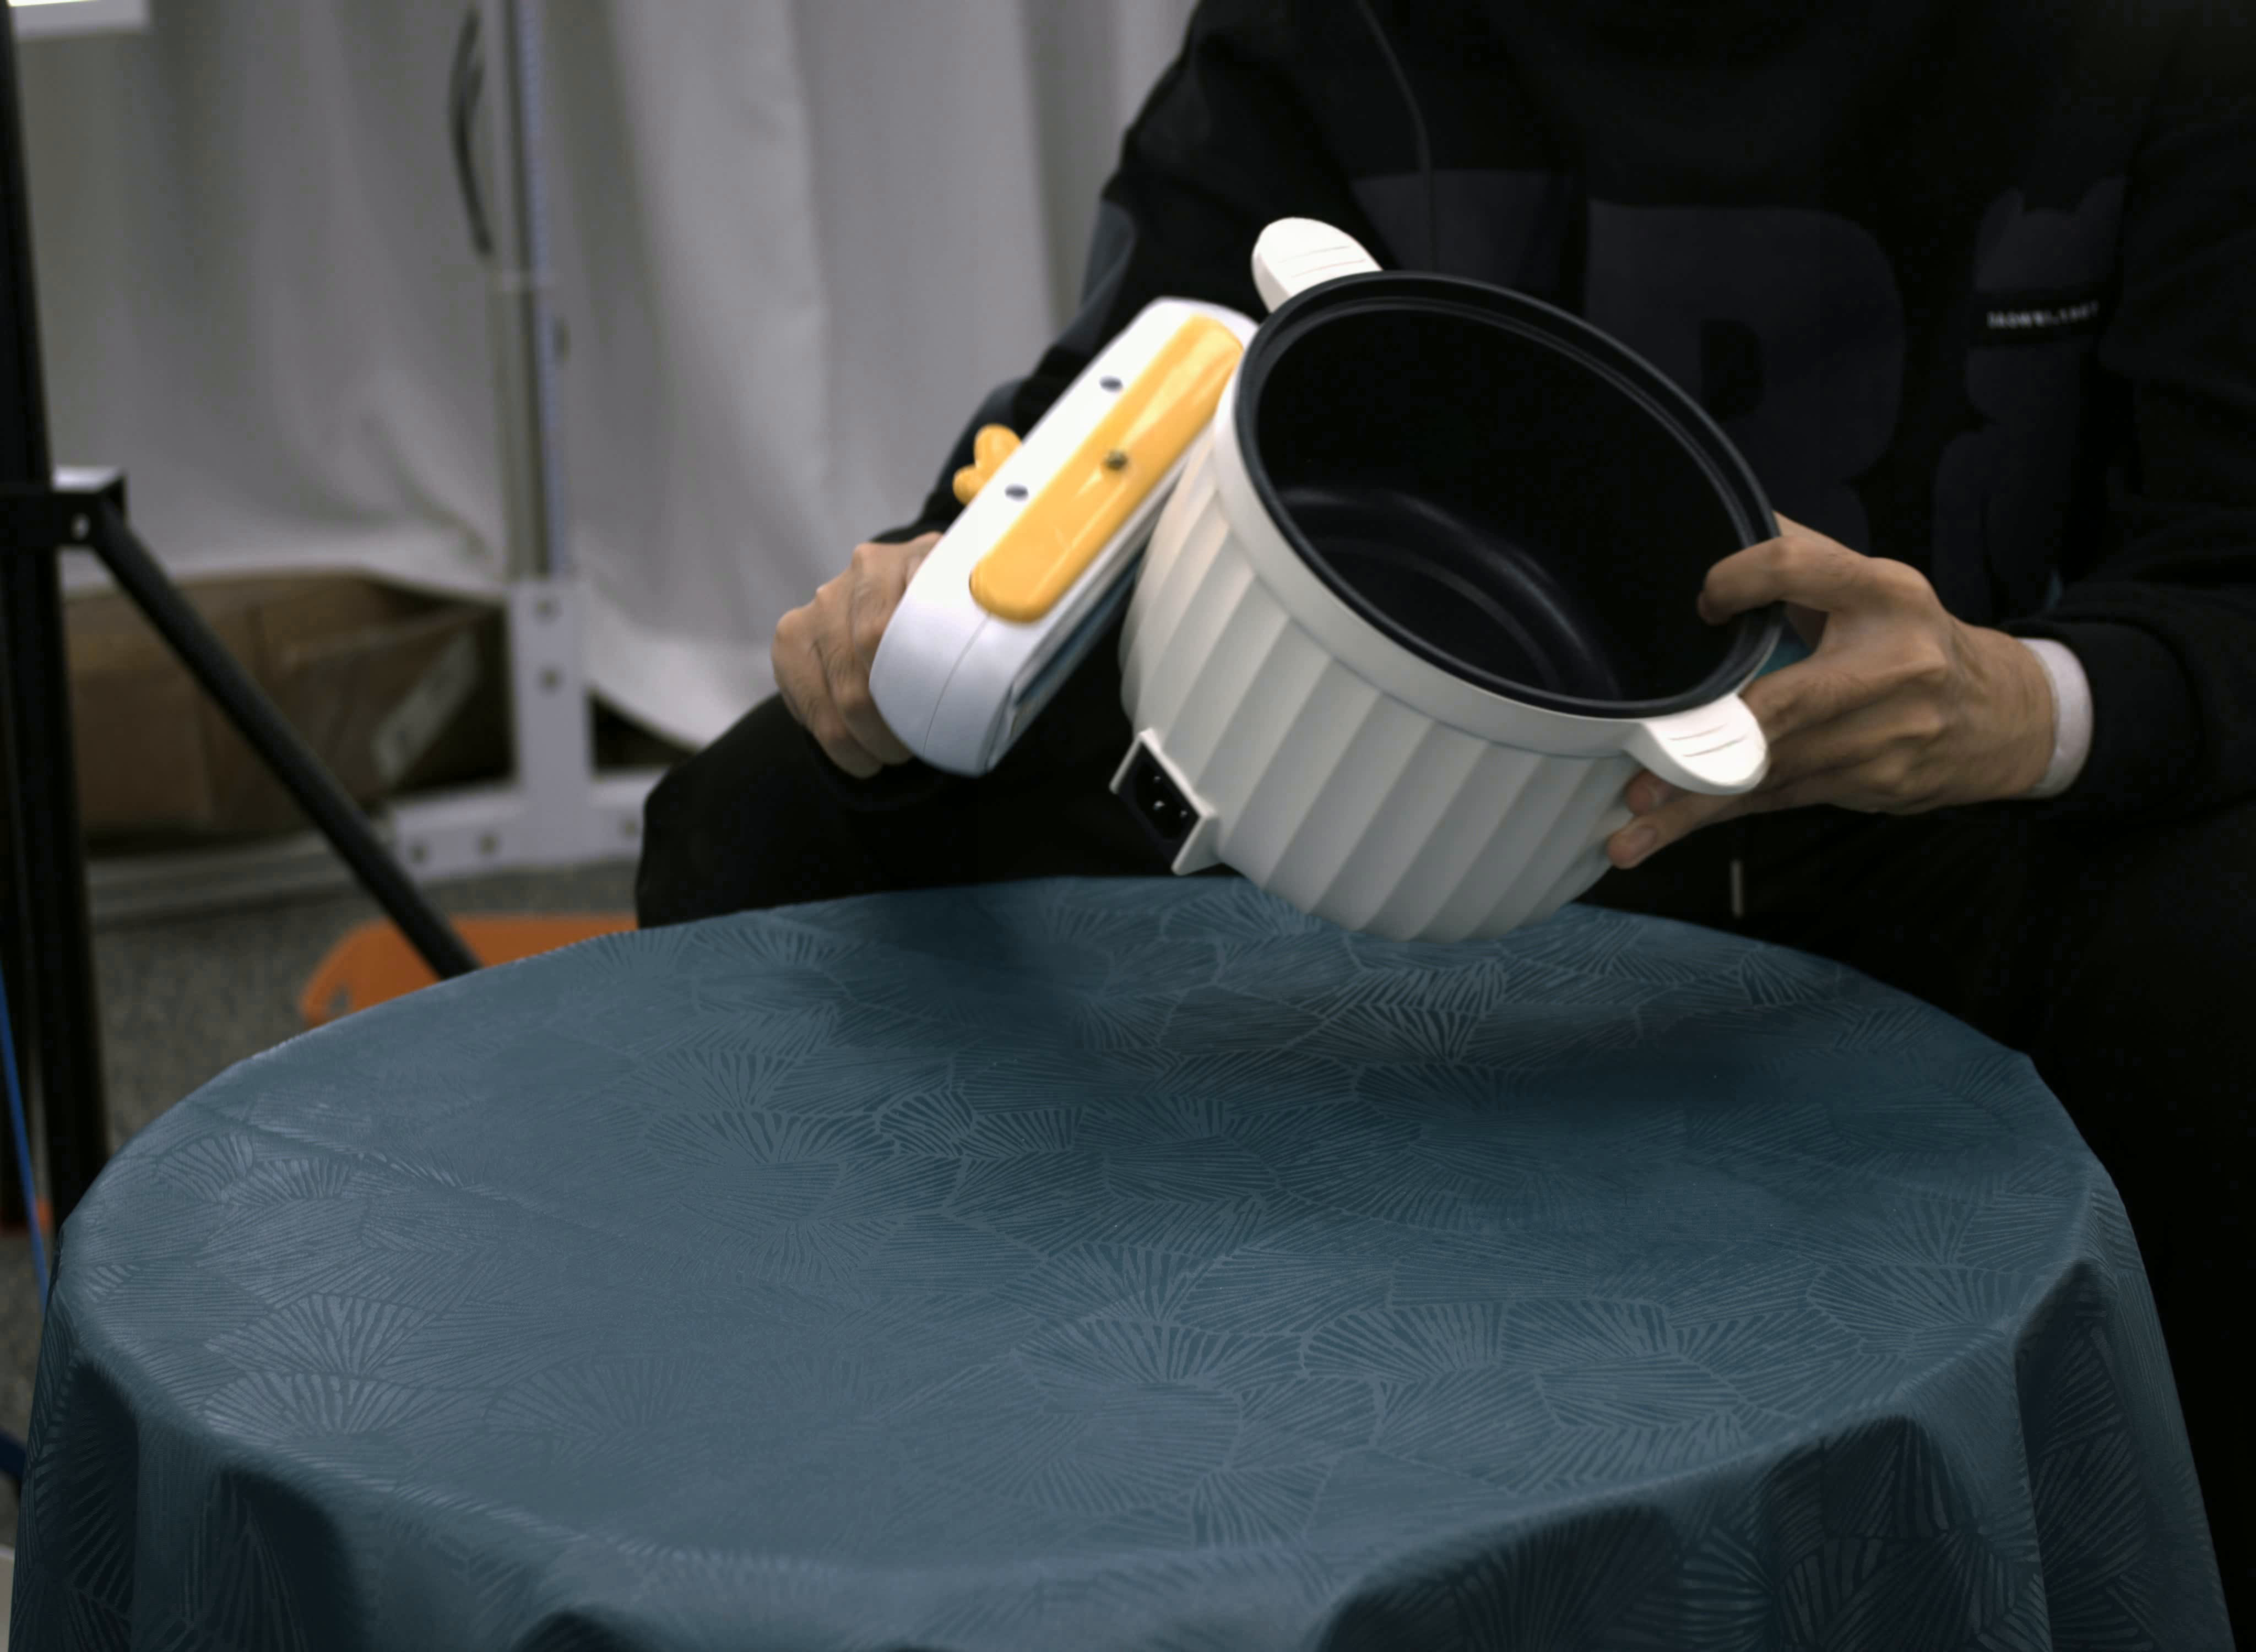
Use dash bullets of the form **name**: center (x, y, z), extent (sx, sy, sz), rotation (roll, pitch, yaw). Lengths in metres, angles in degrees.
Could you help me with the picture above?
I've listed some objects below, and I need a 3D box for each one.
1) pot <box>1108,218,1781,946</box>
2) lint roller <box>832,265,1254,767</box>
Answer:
- **pot**: center (0.093, -0.061, 1.636), extent (0.186, 0.143, 0.244), rotation (-19, 60, -35)
- **lint roller**: center (-0.039, -0.074, 1.720), extent (0.074, 0.193, 0.192), rotation (32, 50, 0)
